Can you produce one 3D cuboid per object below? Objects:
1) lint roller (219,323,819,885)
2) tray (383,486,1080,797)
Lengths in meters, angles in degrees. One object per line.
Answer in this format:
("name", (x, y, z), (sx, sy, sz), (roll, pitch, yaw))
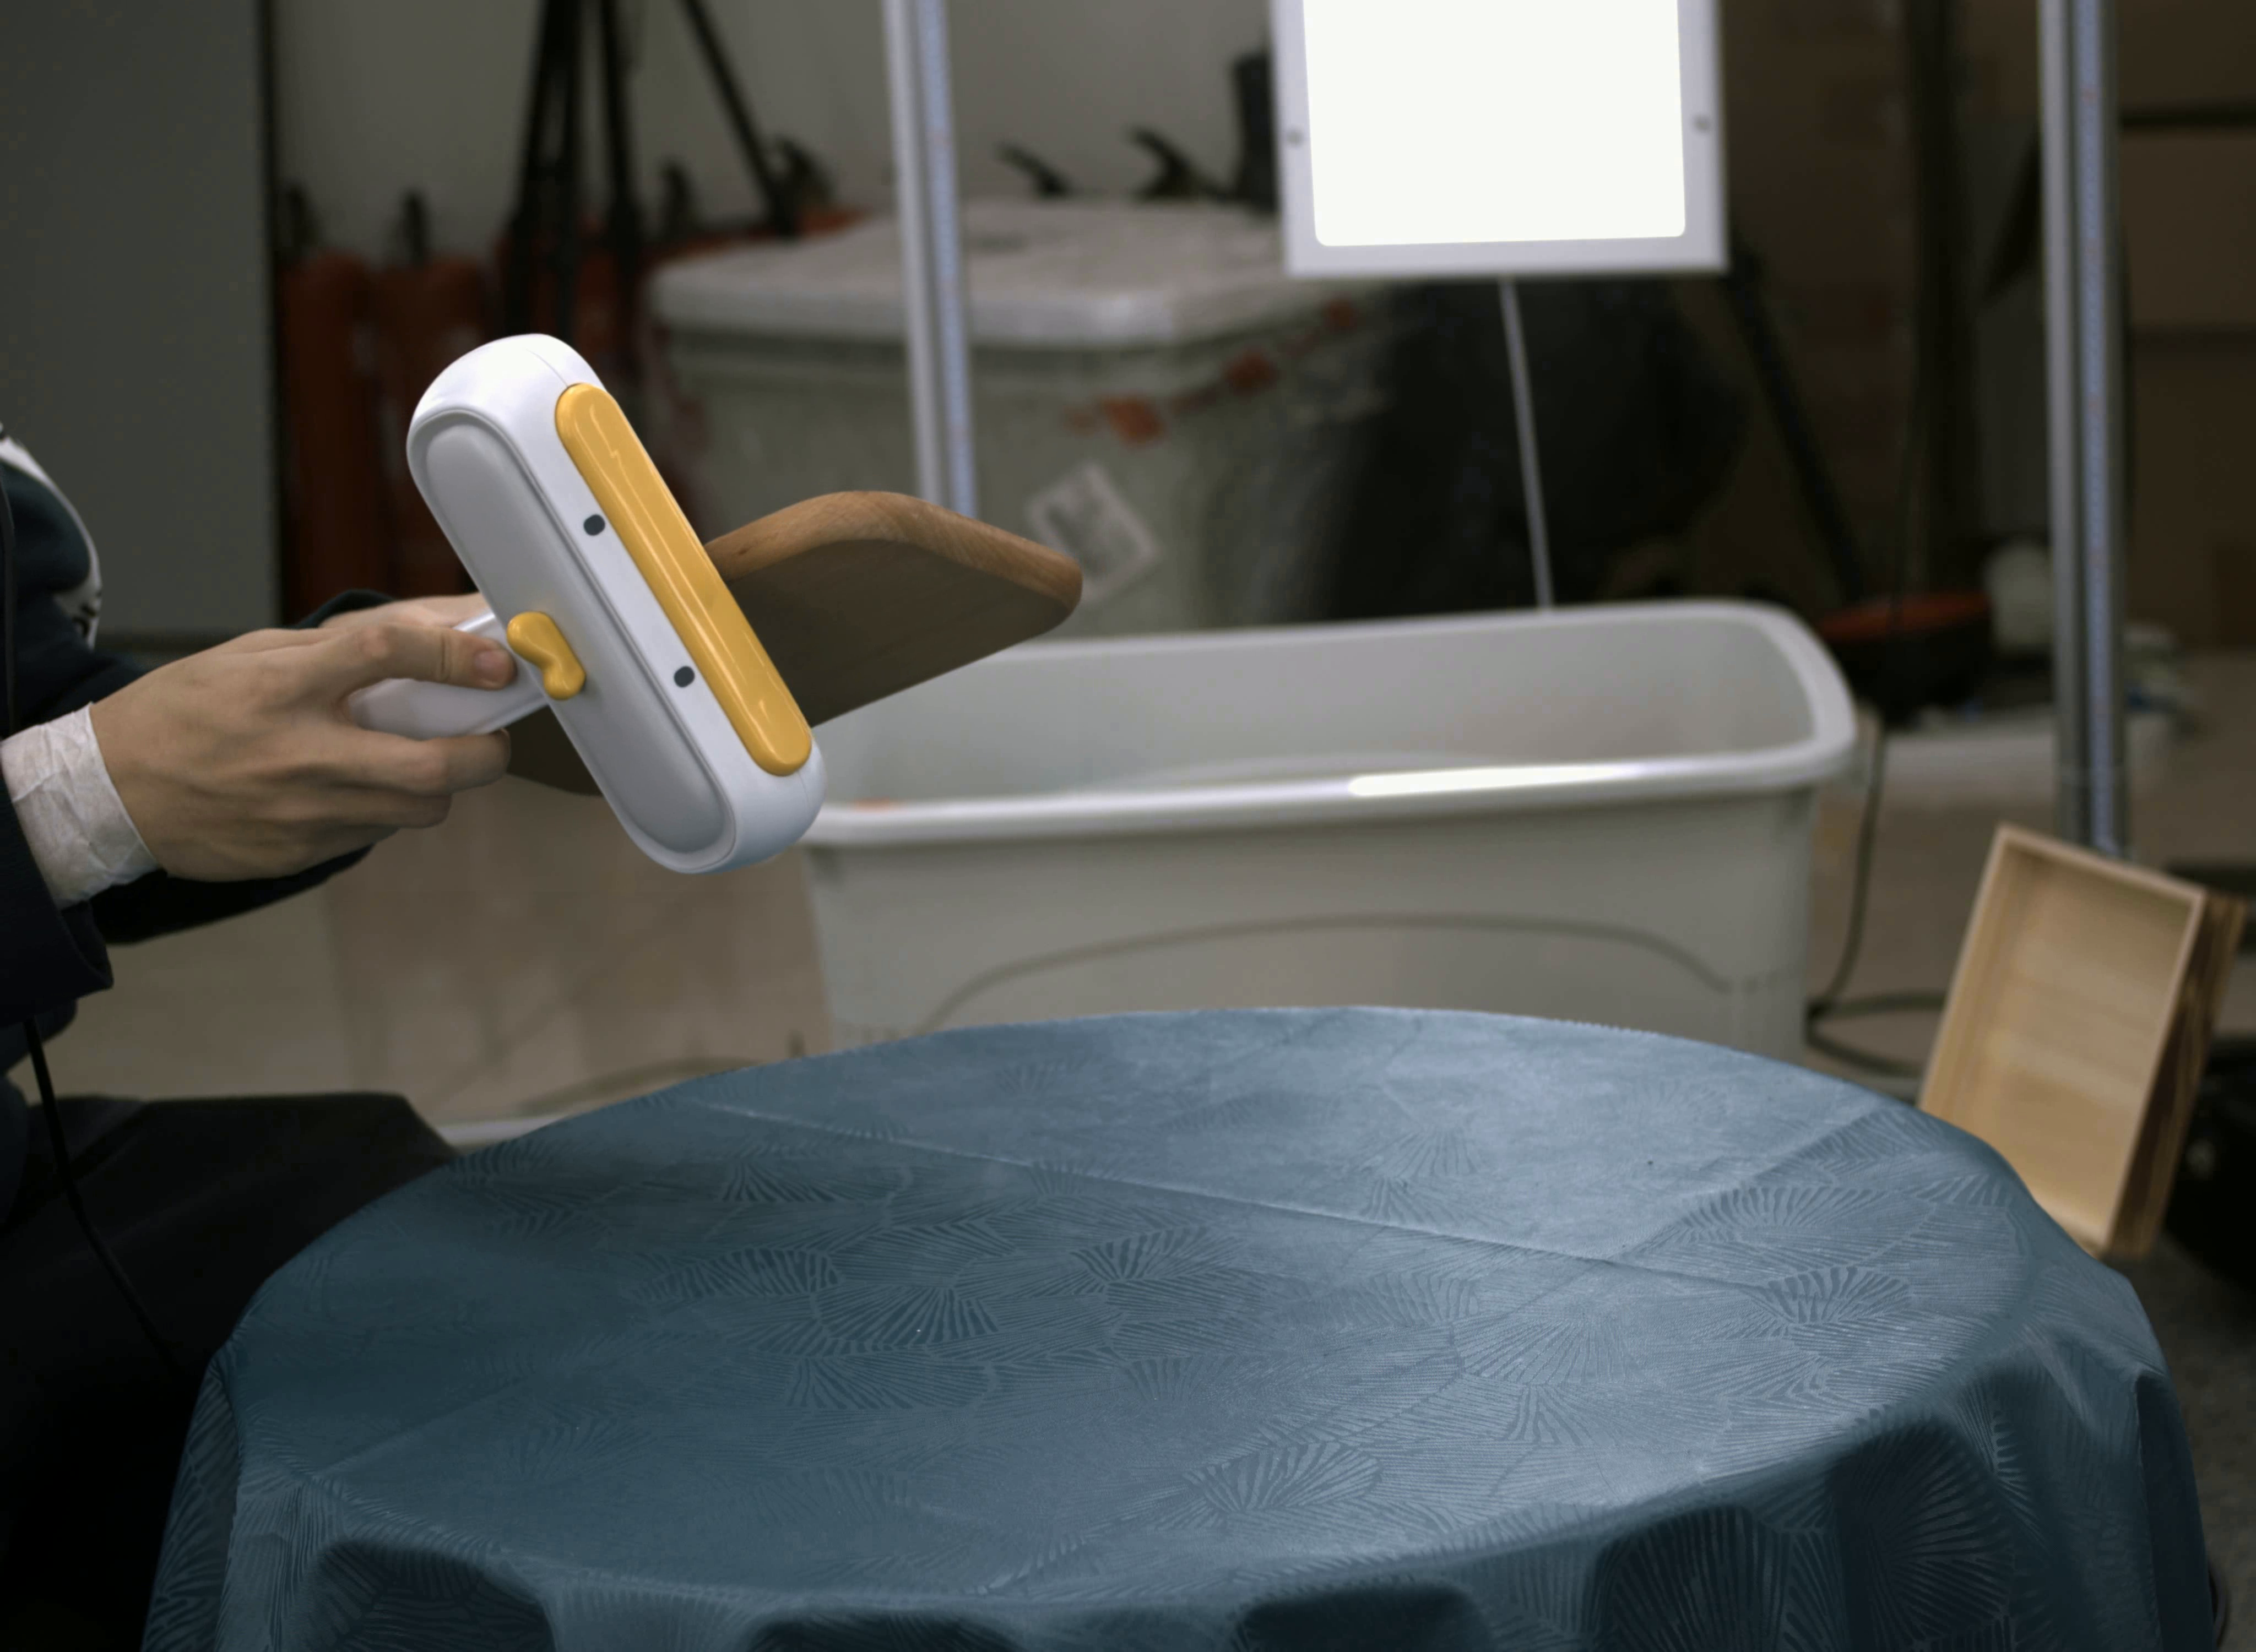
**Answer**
("lint roller", (-0.220, -0.045, 1.826), (0.196, 0.192, 0.073), (-32, 11, 30))
("tray", (-0.139, -0.060, 1.903), (0.256, 0.023, 0.127), (-22, -30, 39))
